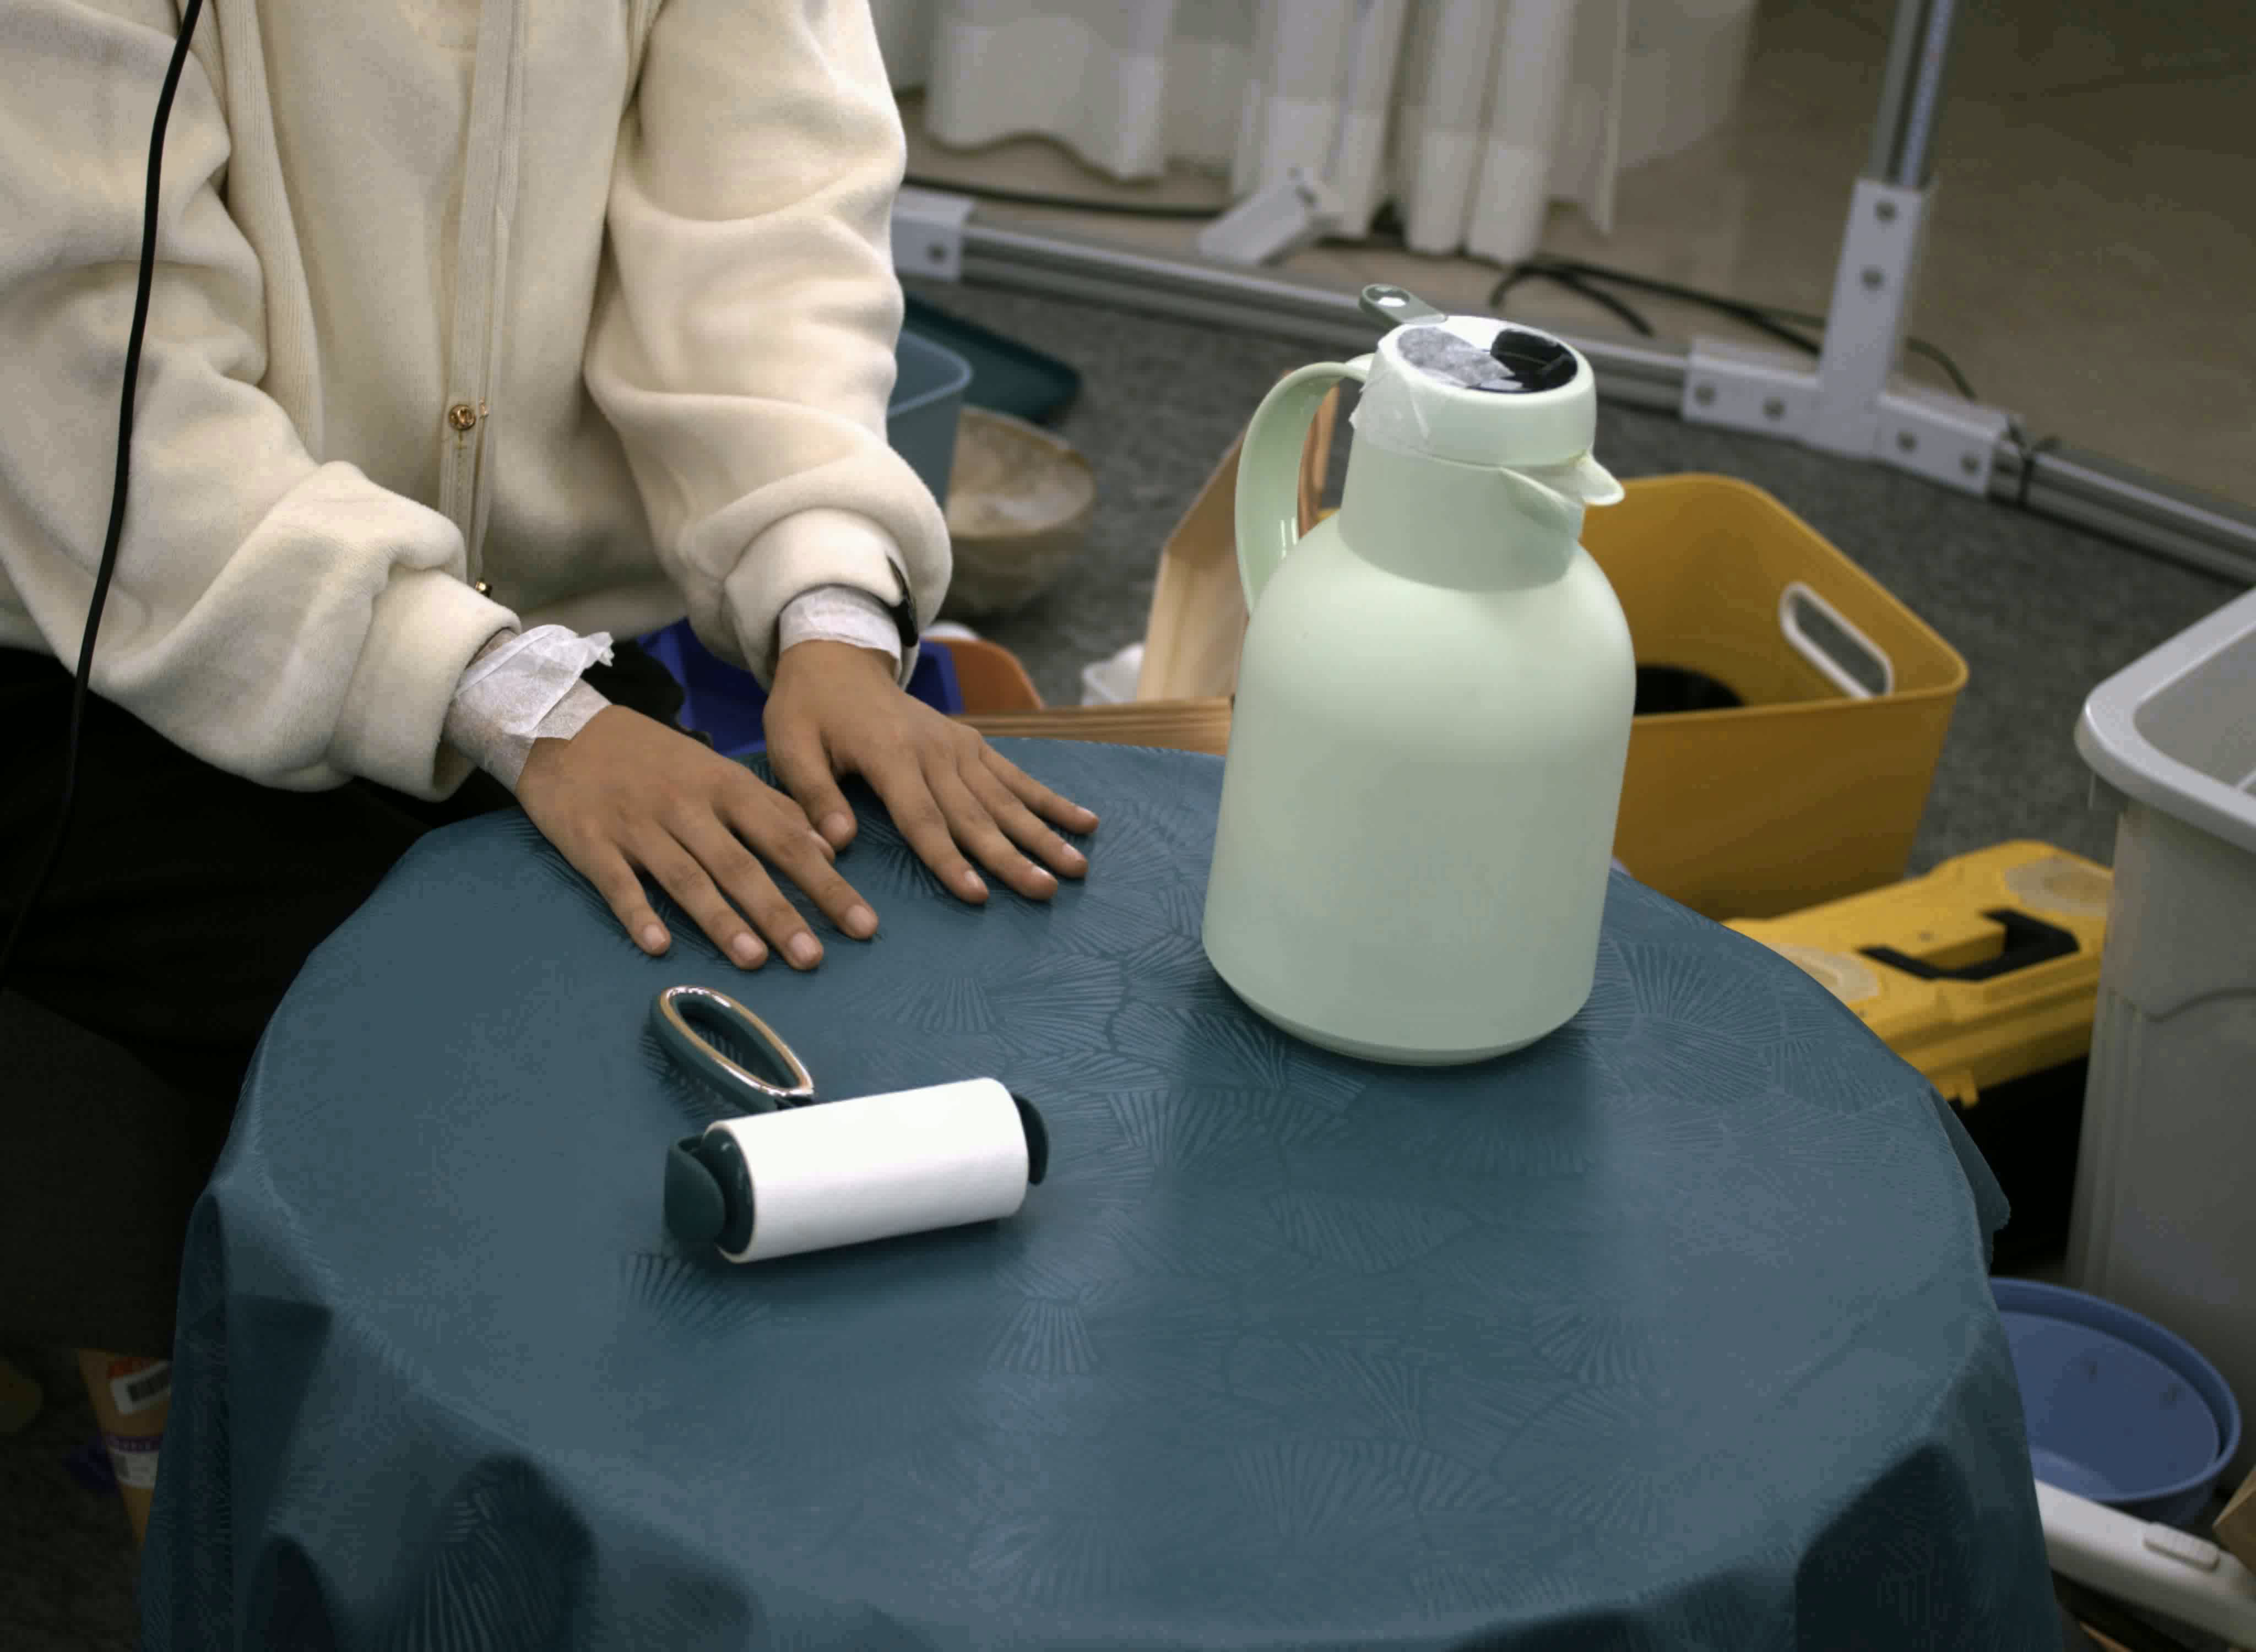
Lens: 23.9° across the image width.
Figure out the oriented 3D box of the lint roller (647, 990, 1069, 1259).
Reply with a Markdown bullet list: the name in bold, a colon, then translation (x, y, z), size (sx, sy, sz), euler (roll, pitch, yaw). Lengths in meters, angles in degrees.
- **lint roller**: translation (-0.118, 0.082, 1.803), size (0.133, 0.048, 0.182), euler (-7, 30, -27)

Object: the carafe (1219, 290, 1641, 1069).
- **carafe**: translation (0.104, -0.058, 1.907), size (0.143, 0.256, 0.188), euler (-14, 29, -32)
